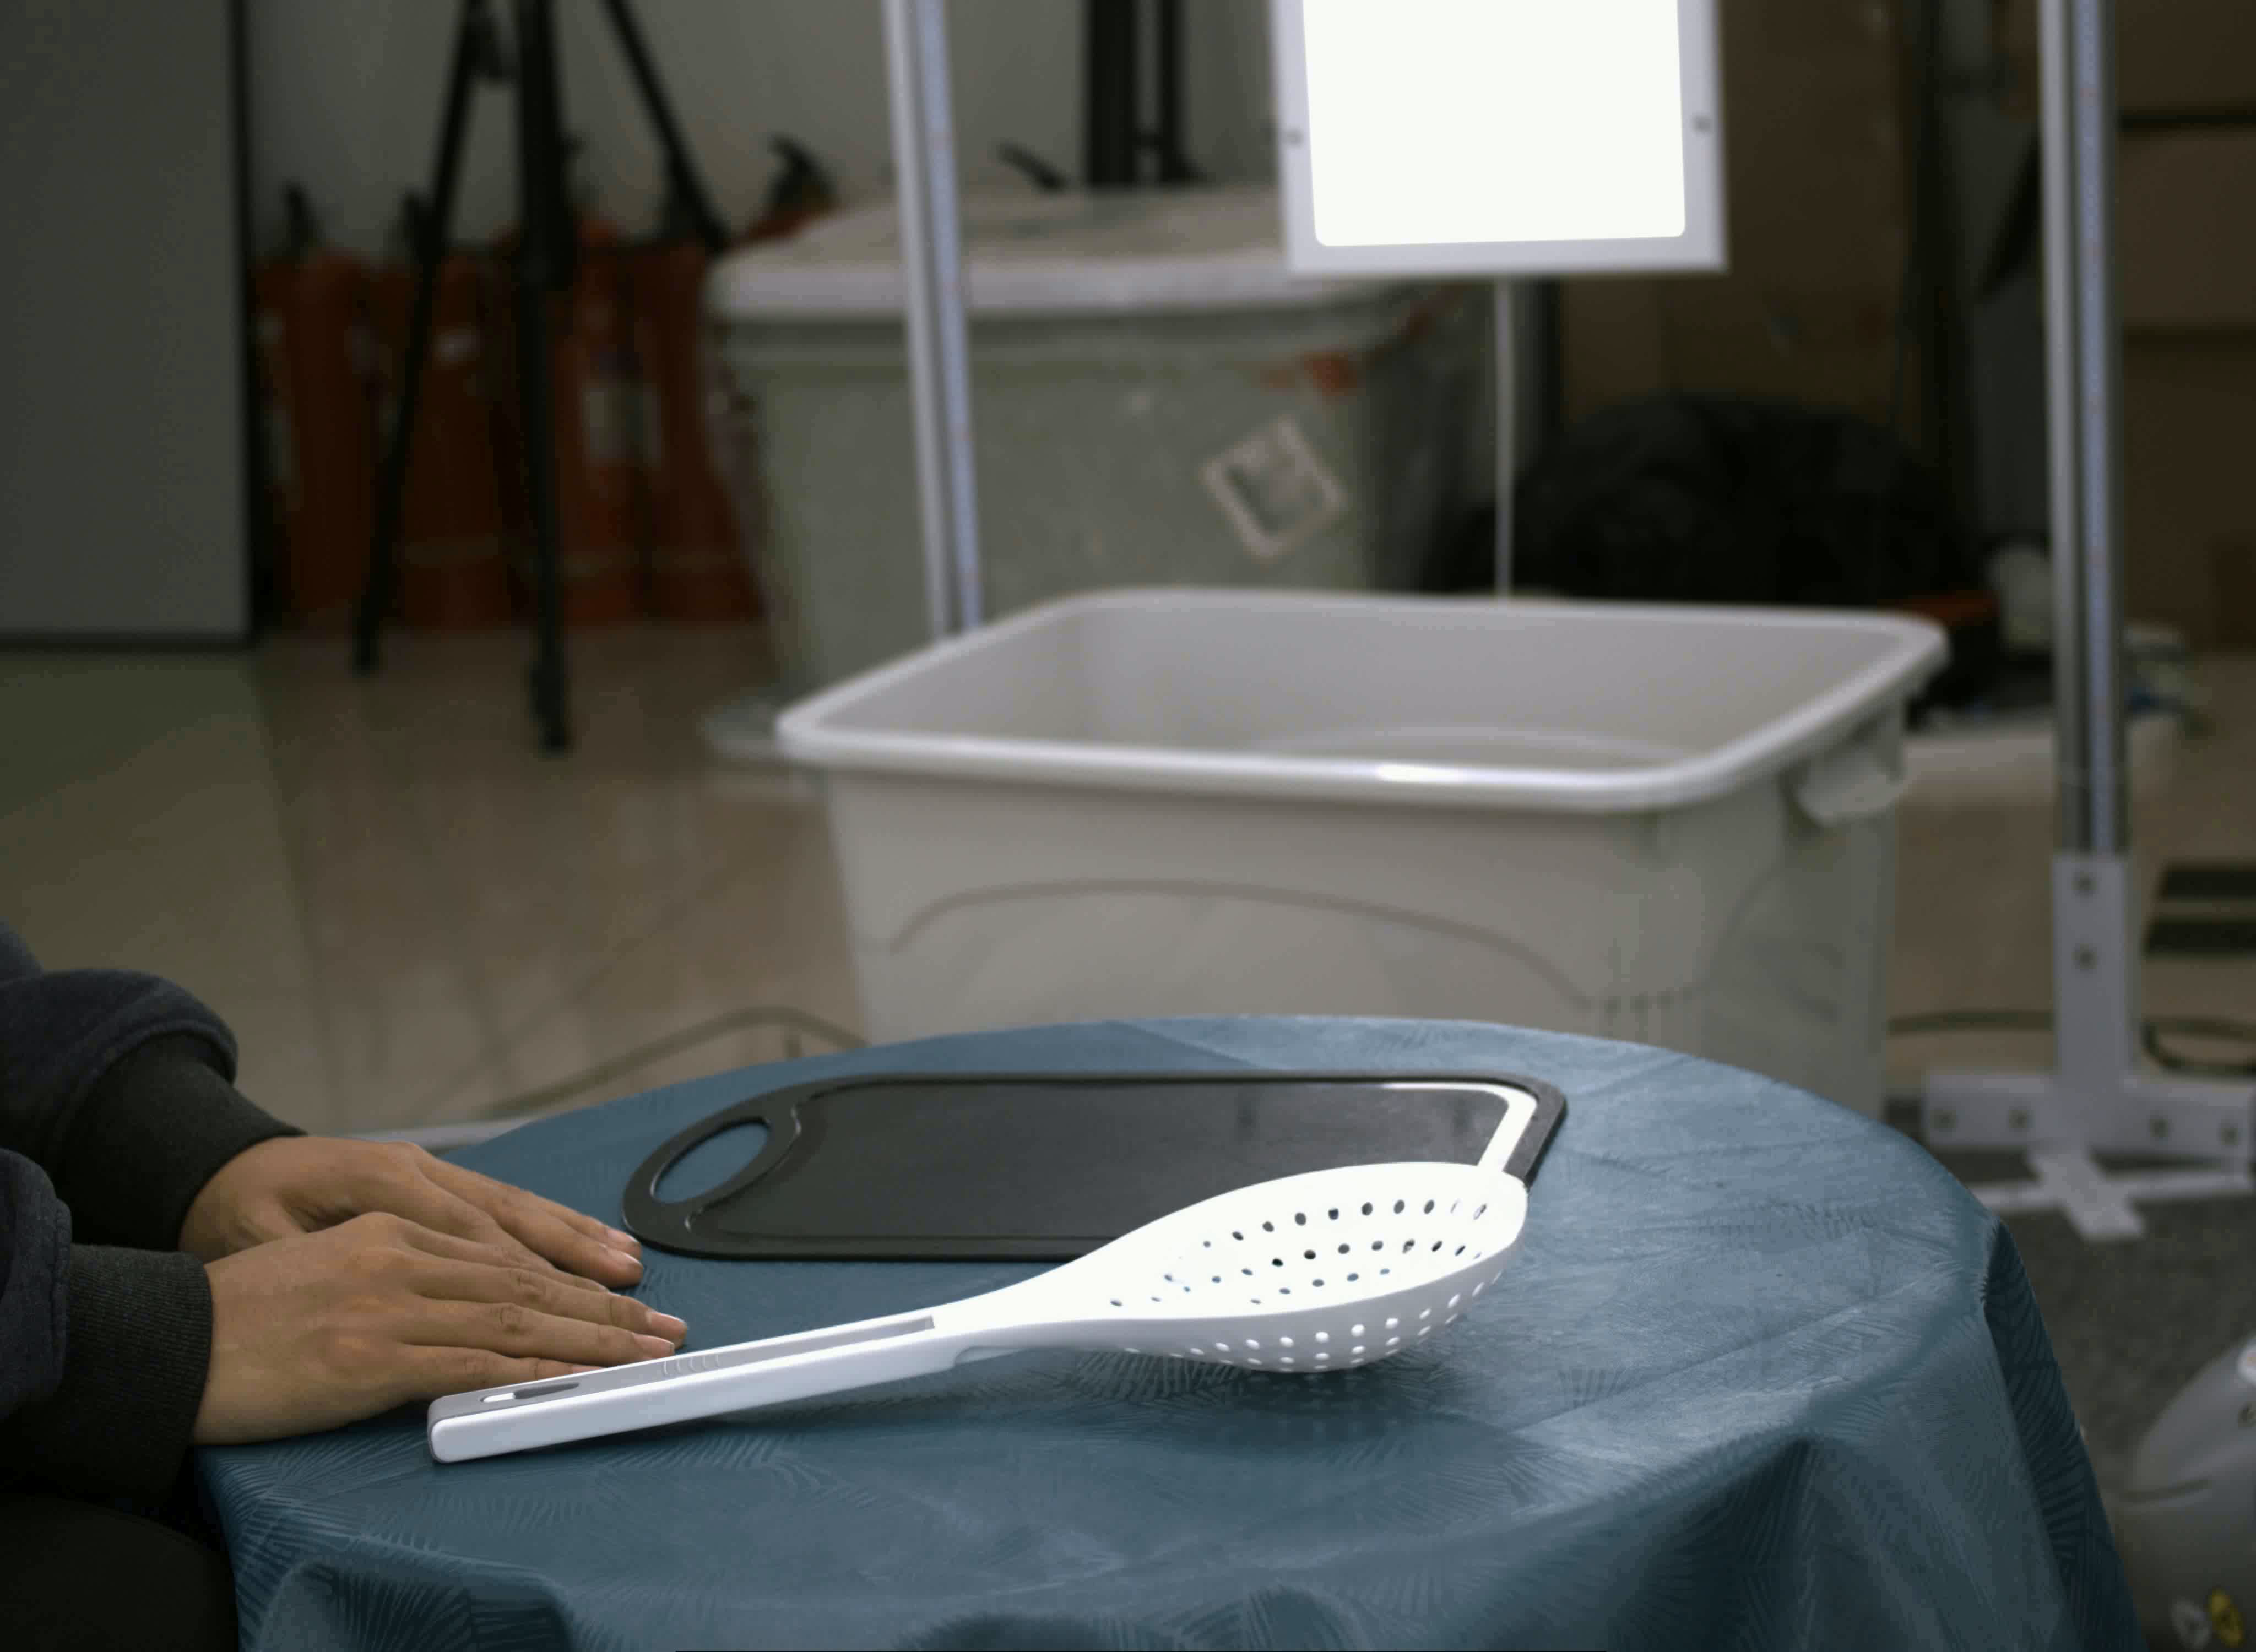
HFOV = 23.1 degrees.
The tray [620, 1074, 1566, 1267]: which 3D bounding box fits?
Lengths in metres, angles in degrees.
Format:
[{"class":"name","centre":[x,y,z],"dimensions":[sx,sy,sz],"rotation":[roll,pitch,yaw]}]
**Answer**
[{"class":"tray","centre":[-0.017,0.117,1.928],"dimensions":[0.329,0.010,0.208],"rotation":[-1,14,16]}]

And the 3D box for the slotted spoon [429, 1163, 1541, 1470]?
[{"class":"slotted spoon","centre":[-0.043,0.155,1.702],"dimensions":[0.348,0.046,0.136],"rotation":[-7,12,-3]}]
